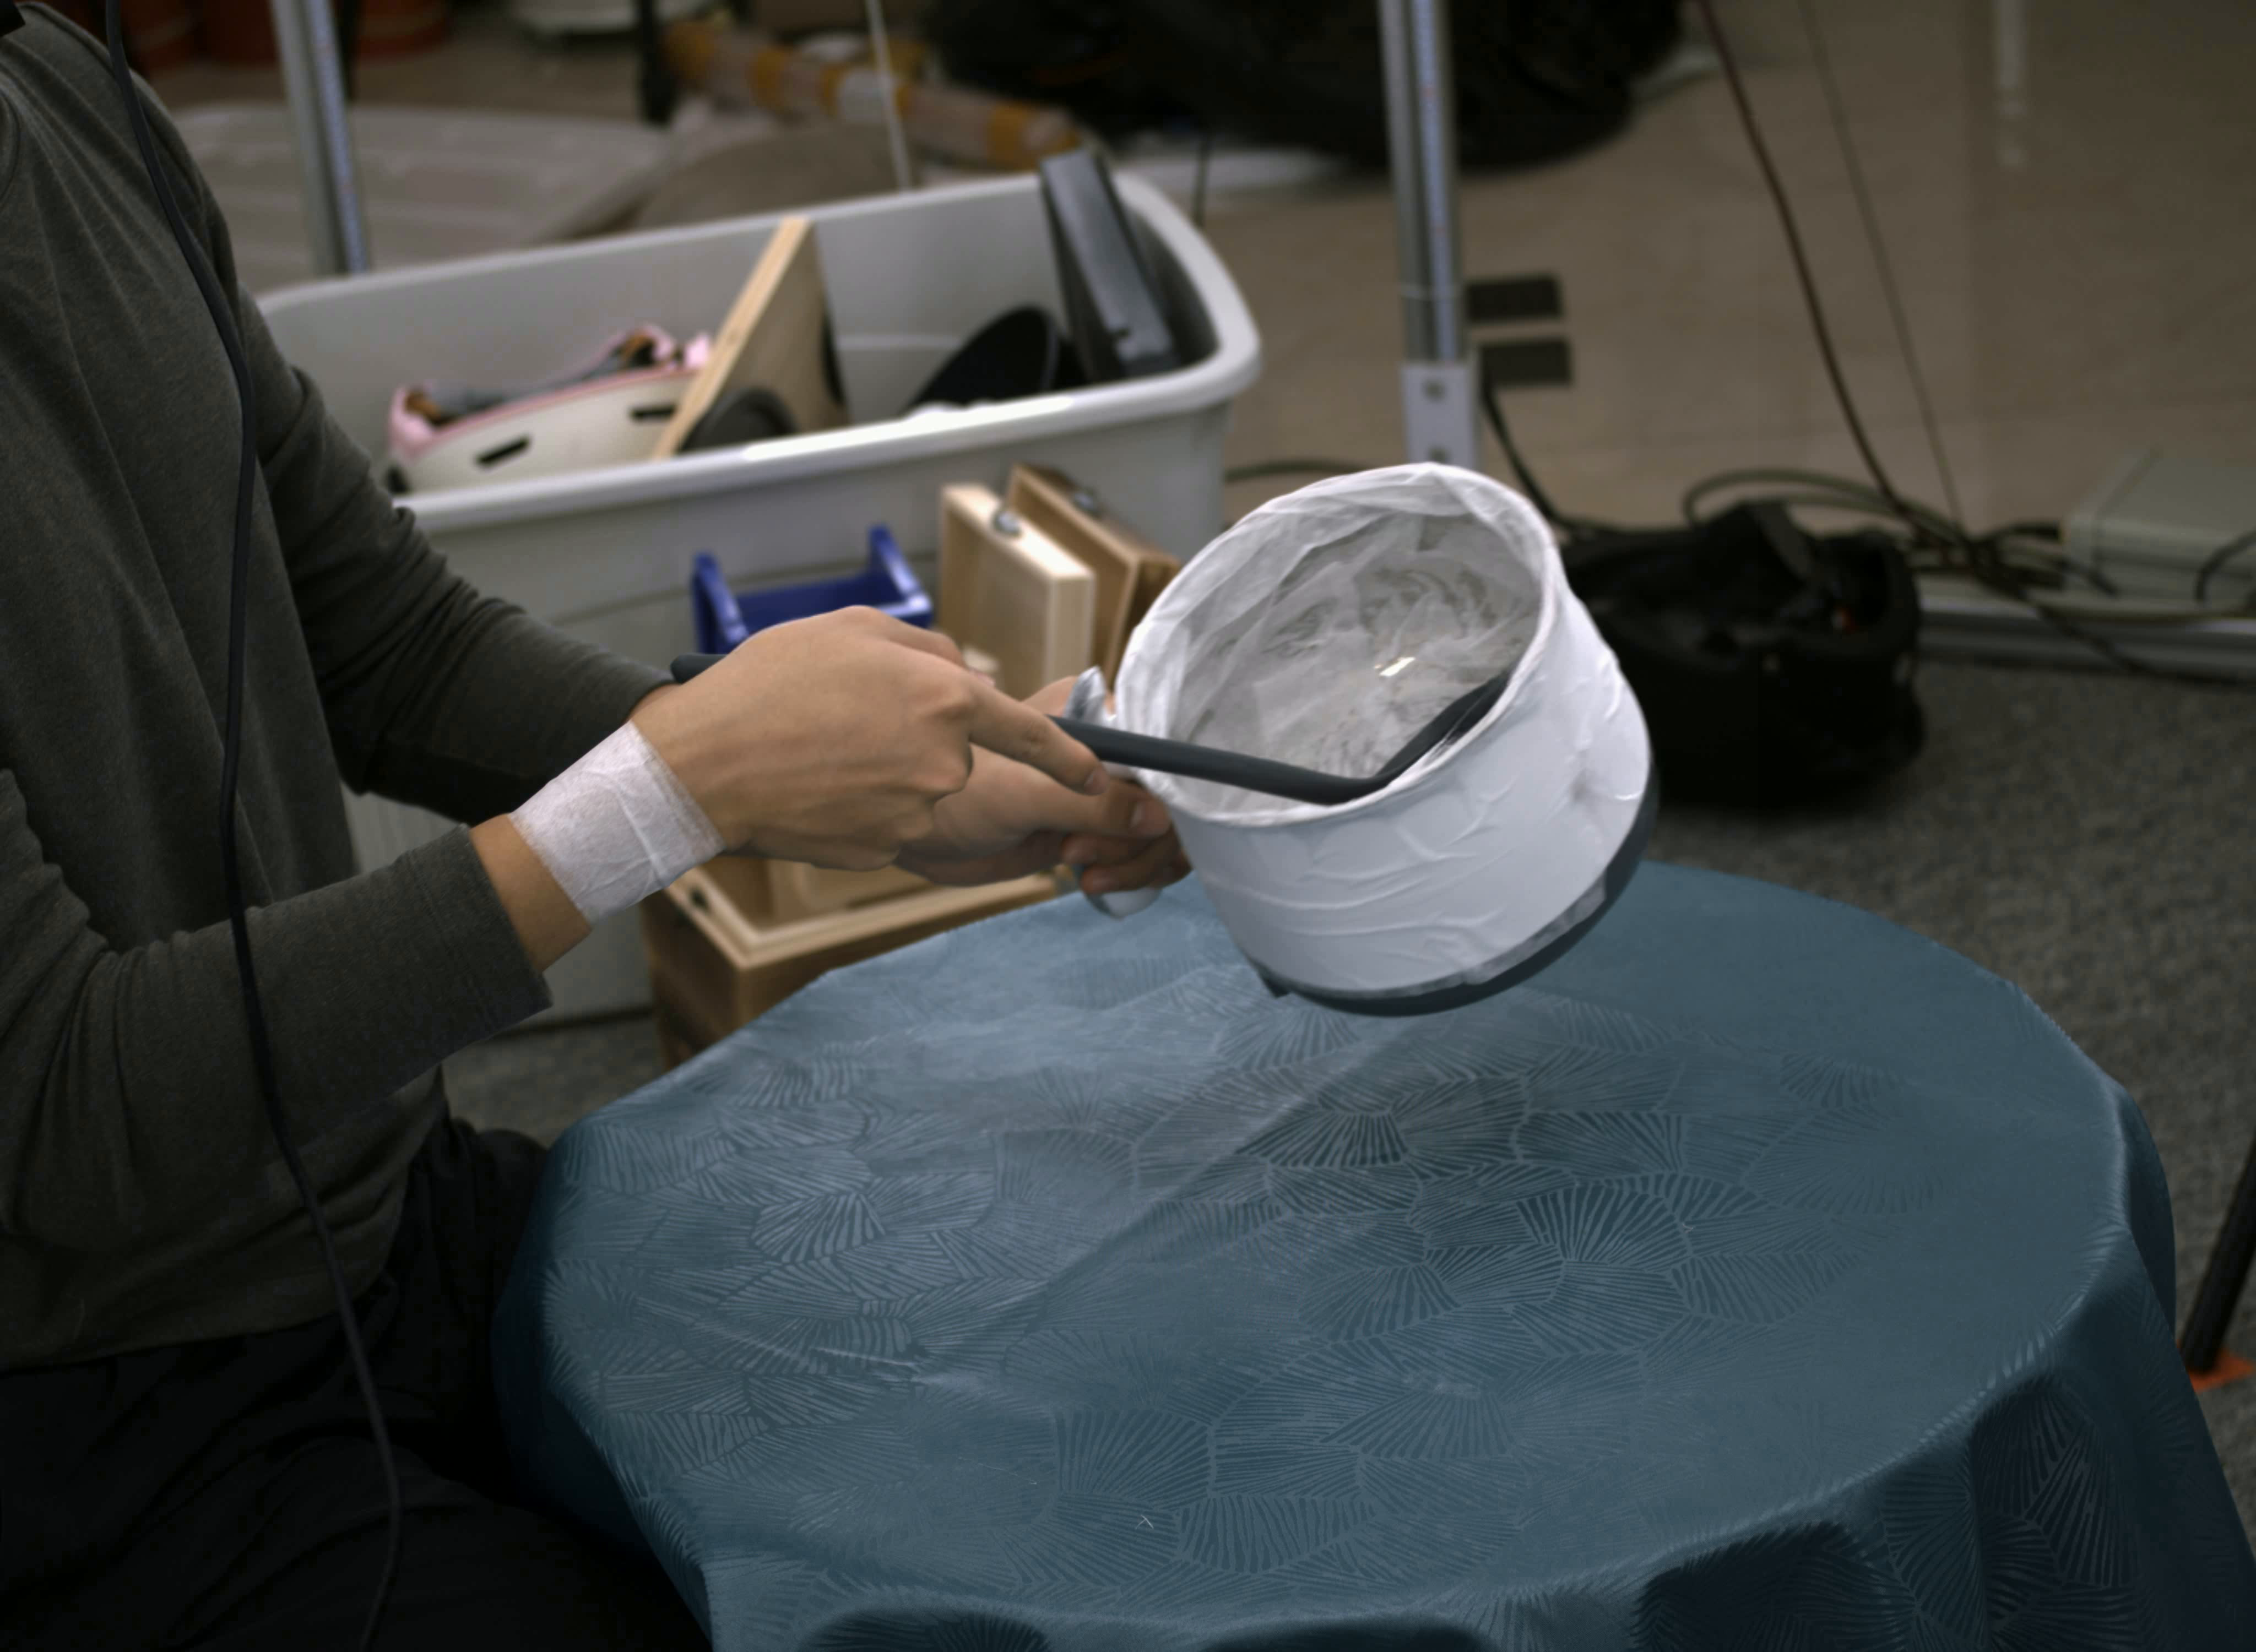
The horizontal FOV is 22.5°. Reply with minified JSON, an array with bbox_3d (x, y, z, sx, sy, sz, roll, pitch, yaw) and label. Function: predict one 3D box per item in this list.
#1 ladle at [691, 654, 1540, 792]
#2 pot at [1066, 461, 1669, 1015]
[{"bbox_3d":[-0.001,-0.052,2.039,0.314,0.063,0.087,10,-18,-13],"label":"ladle"},{"bbox_3d":[0.080,-0.024,2.125,0.234,0.139,0.175,-10,45,22],"label":"pot"}]
